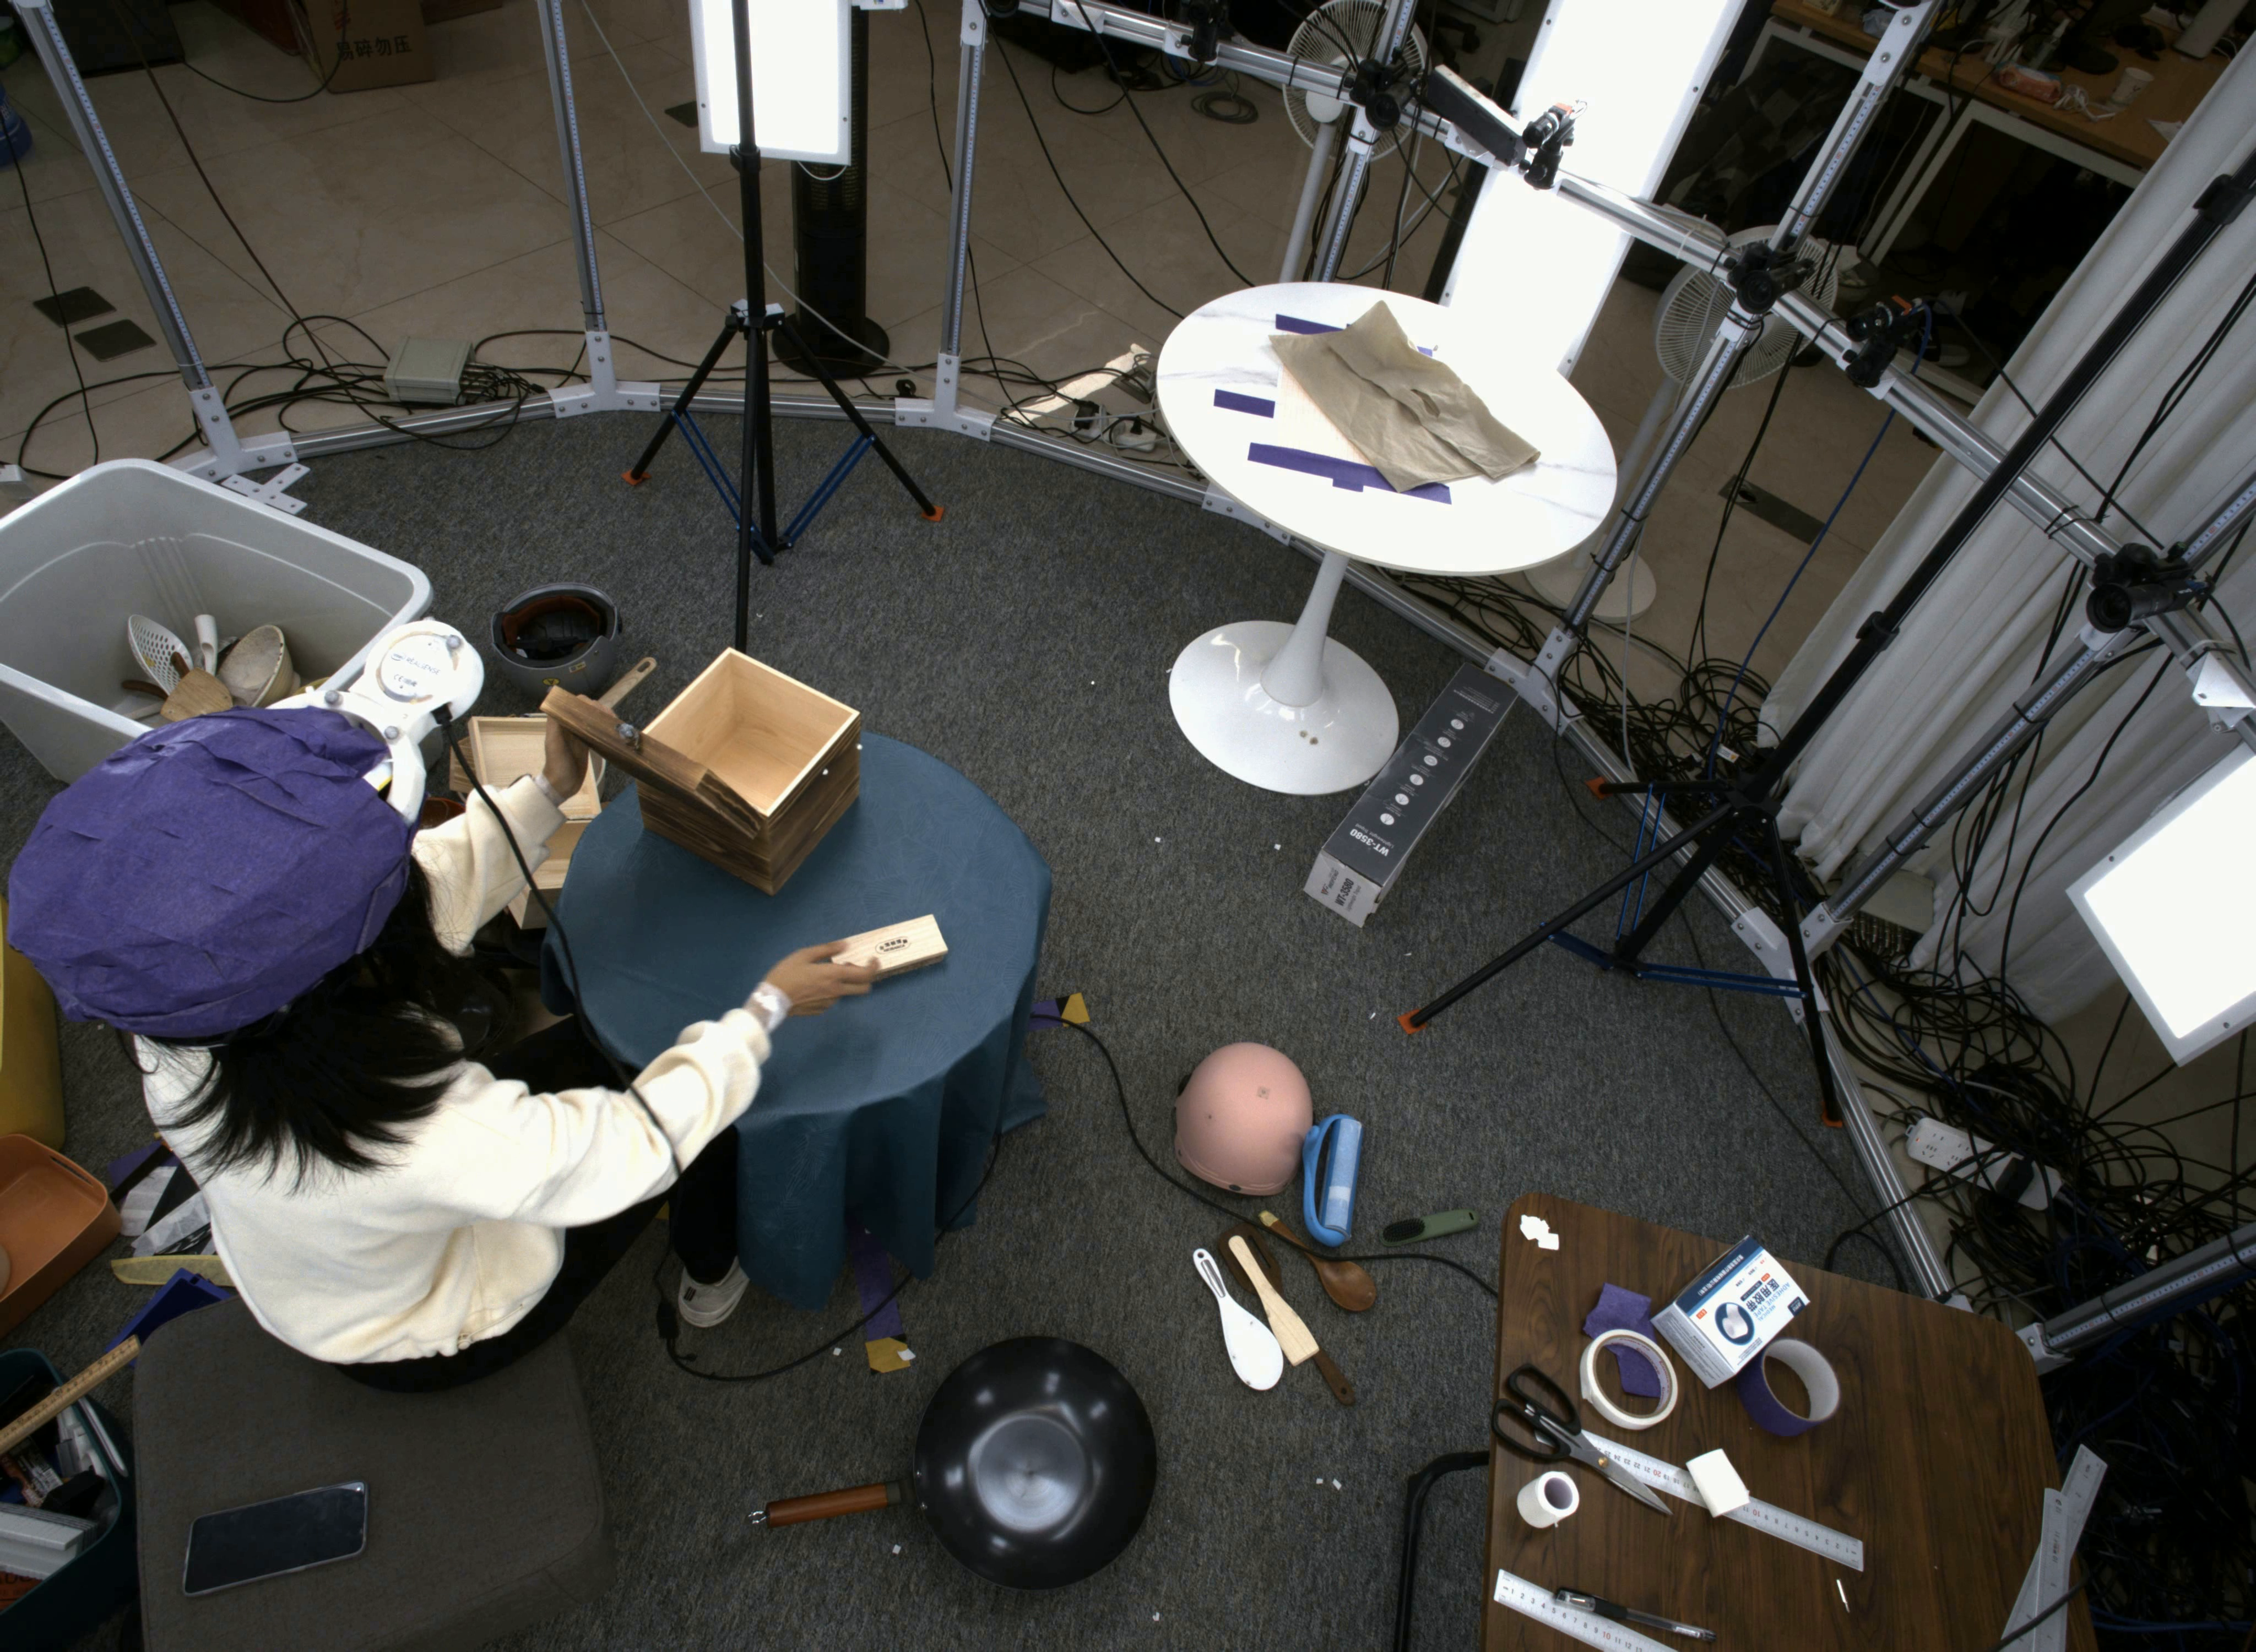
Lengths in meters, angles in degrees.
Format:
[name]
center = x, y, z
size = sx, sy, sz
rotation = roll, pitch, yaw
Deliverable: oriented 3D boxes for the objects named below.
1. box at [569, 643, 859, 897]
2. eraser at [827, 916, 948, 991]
[box]
center = -0.487, -0.100, 1.539
size = 0.206, 0.383, 0.320
rotation = 25, 51, 7
[eraser]
center = -0.299, 0.155, 1.617
size = 0.140, 0.029, 0.056
rotation = -15, 61, -23
